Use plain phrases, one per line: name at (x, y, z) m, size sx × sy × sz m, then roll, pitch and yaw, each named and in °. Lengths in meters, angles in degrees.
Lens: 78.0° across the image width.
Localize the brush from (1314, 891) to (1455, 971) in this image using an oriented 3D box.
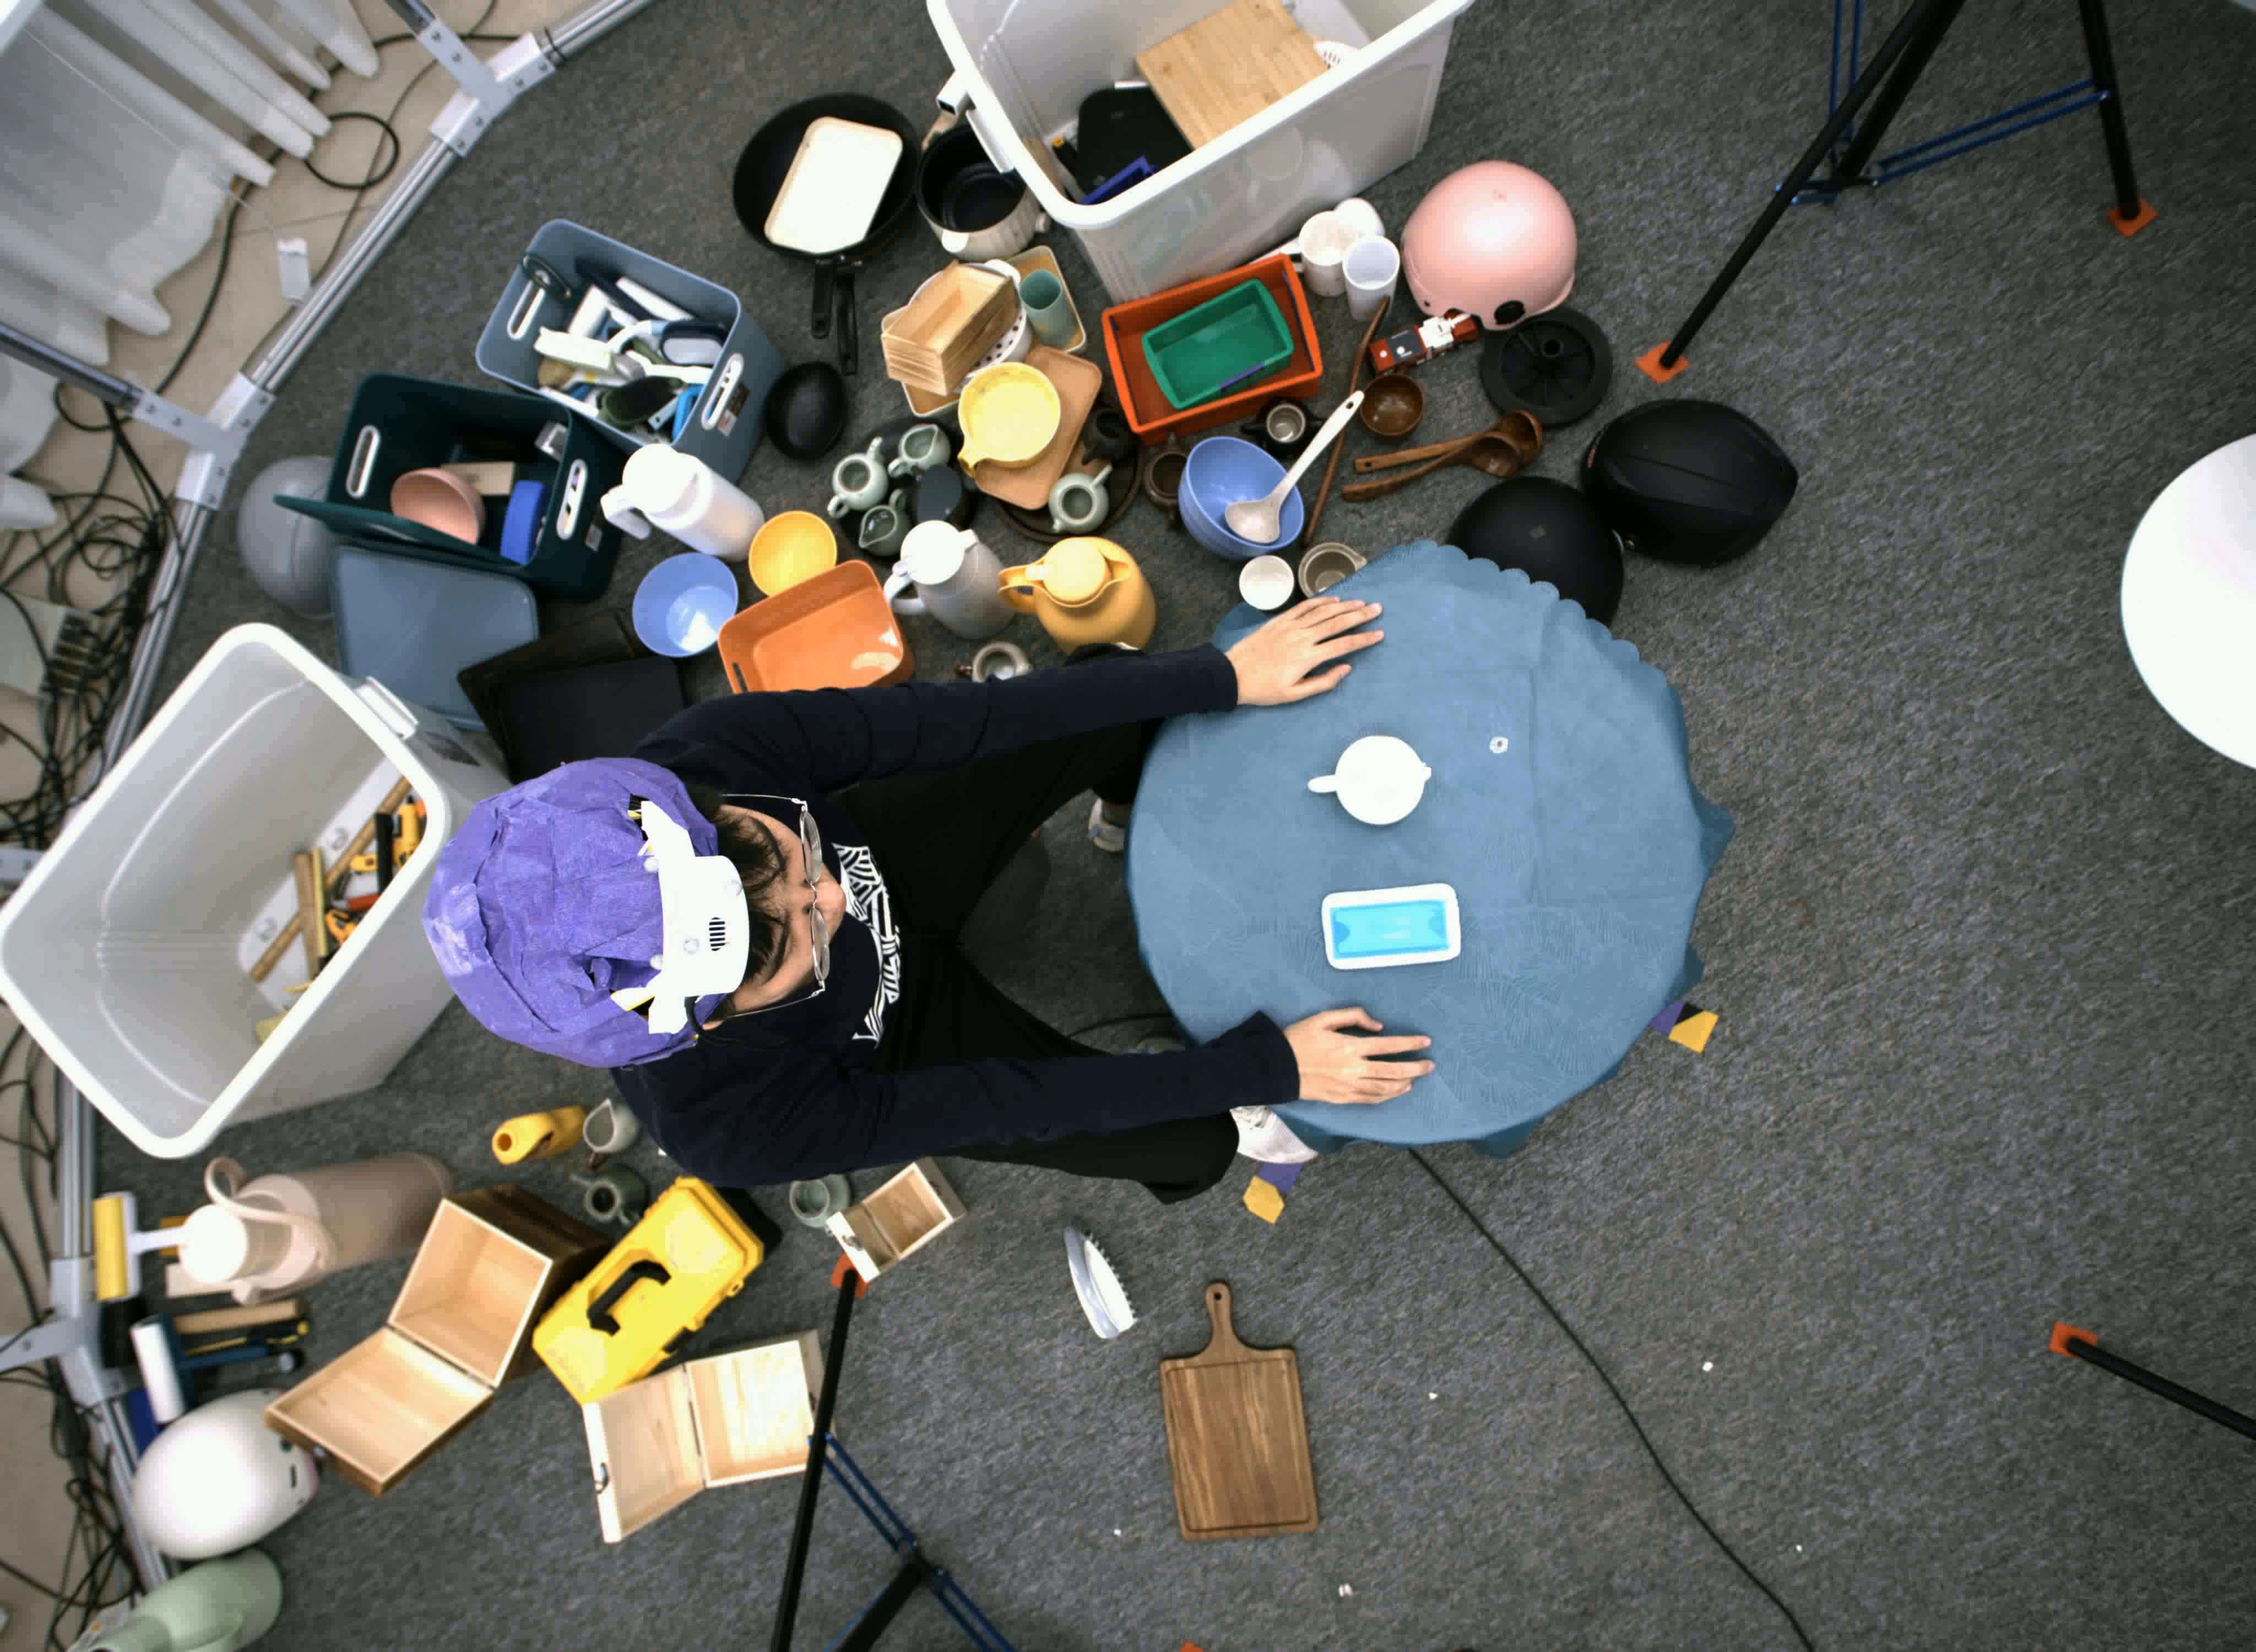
brush at (0.265, 0.104, 1.427) m, size 0.144 × 0.056 × 0.083 m, roll -3°, pitch 82°, yaw 8°

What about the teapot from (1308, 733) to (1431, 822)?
teapot at (0.251, -0.050, 1.441) m, size 0.128 × 0.056 × 0.093 m, roll -9°, pitch 88°, yaw 11°
